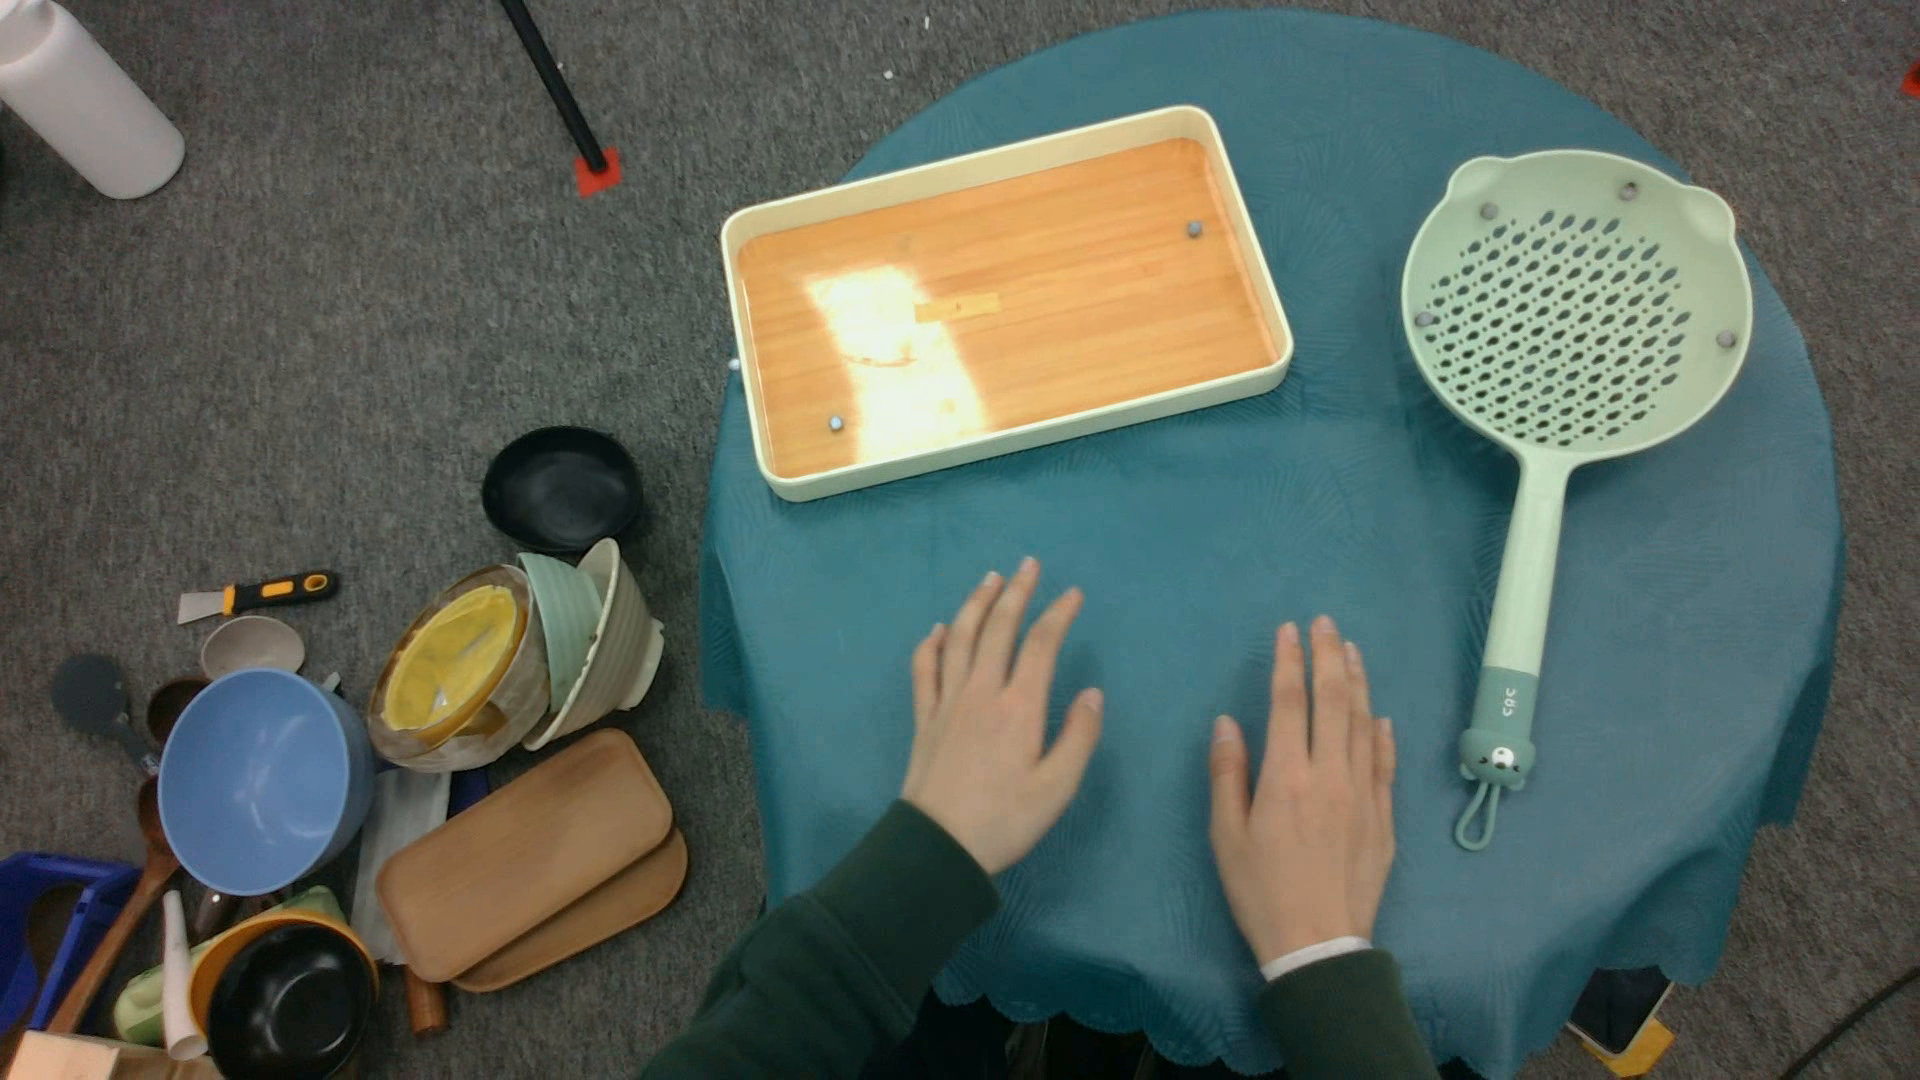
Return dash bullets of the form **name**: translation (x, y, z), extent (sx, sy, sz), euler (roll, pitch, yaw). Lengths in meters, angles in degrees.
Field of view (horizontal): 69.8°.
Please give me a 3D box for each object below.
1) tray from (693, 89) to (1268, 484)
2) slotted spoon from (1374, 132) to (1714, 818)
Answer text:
- **tray**: translation (0.006, -0.149, 0.788), extent (0.300, 0.027, 0.192), euler (-13, 65, -1)
- **slotted spoon**: translation (0.277, -0.040, 0.696), extent (0.169, 0.075, 0.360), euler (12, 68, 10)
